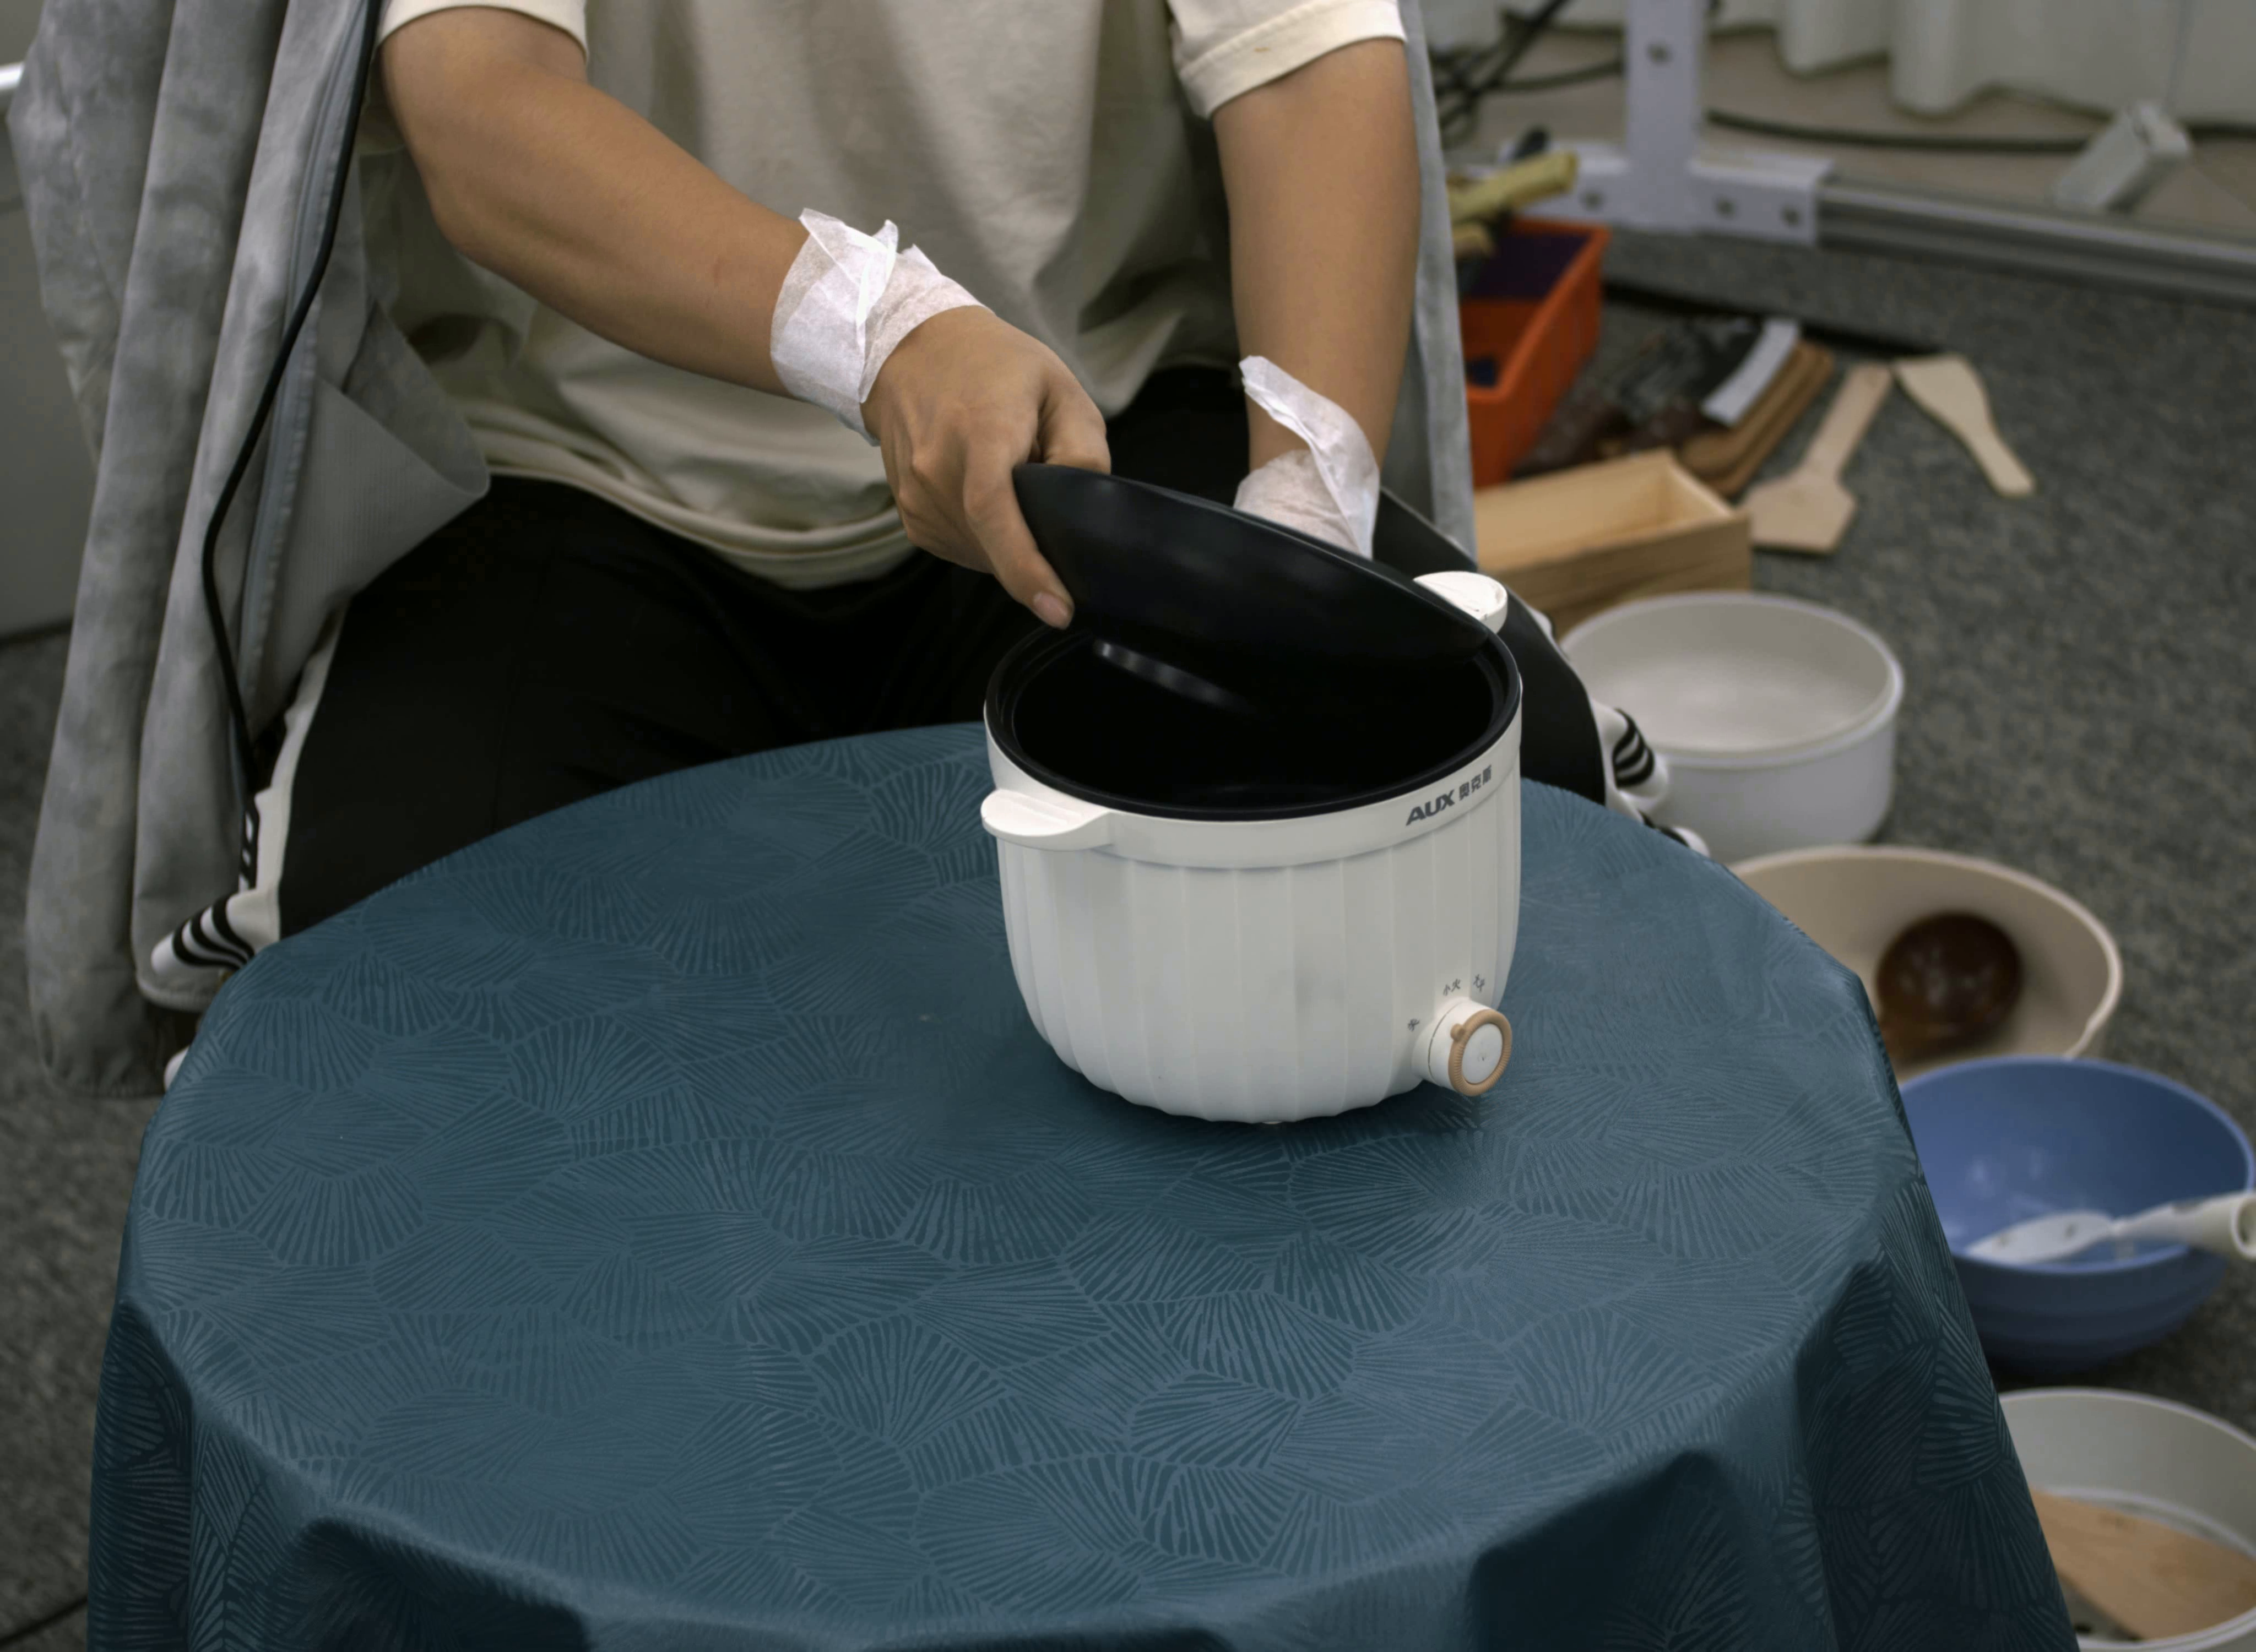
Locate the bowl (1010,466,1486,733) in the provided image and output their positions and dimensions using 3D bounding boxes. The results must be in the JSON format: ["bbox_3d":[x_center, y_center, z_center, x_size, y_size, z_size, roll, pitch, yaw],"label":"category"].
[{"bbox_3d":[0.032,-0.073,1.884,0.170,0.067,0.137,22,2,9],"label":"bowl"}]

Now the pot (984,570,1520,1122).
[{"bbox_3d":[0.050,0.012,1.918,0.190,0.141,0.243,17,34,41],"label":"pot"}]
